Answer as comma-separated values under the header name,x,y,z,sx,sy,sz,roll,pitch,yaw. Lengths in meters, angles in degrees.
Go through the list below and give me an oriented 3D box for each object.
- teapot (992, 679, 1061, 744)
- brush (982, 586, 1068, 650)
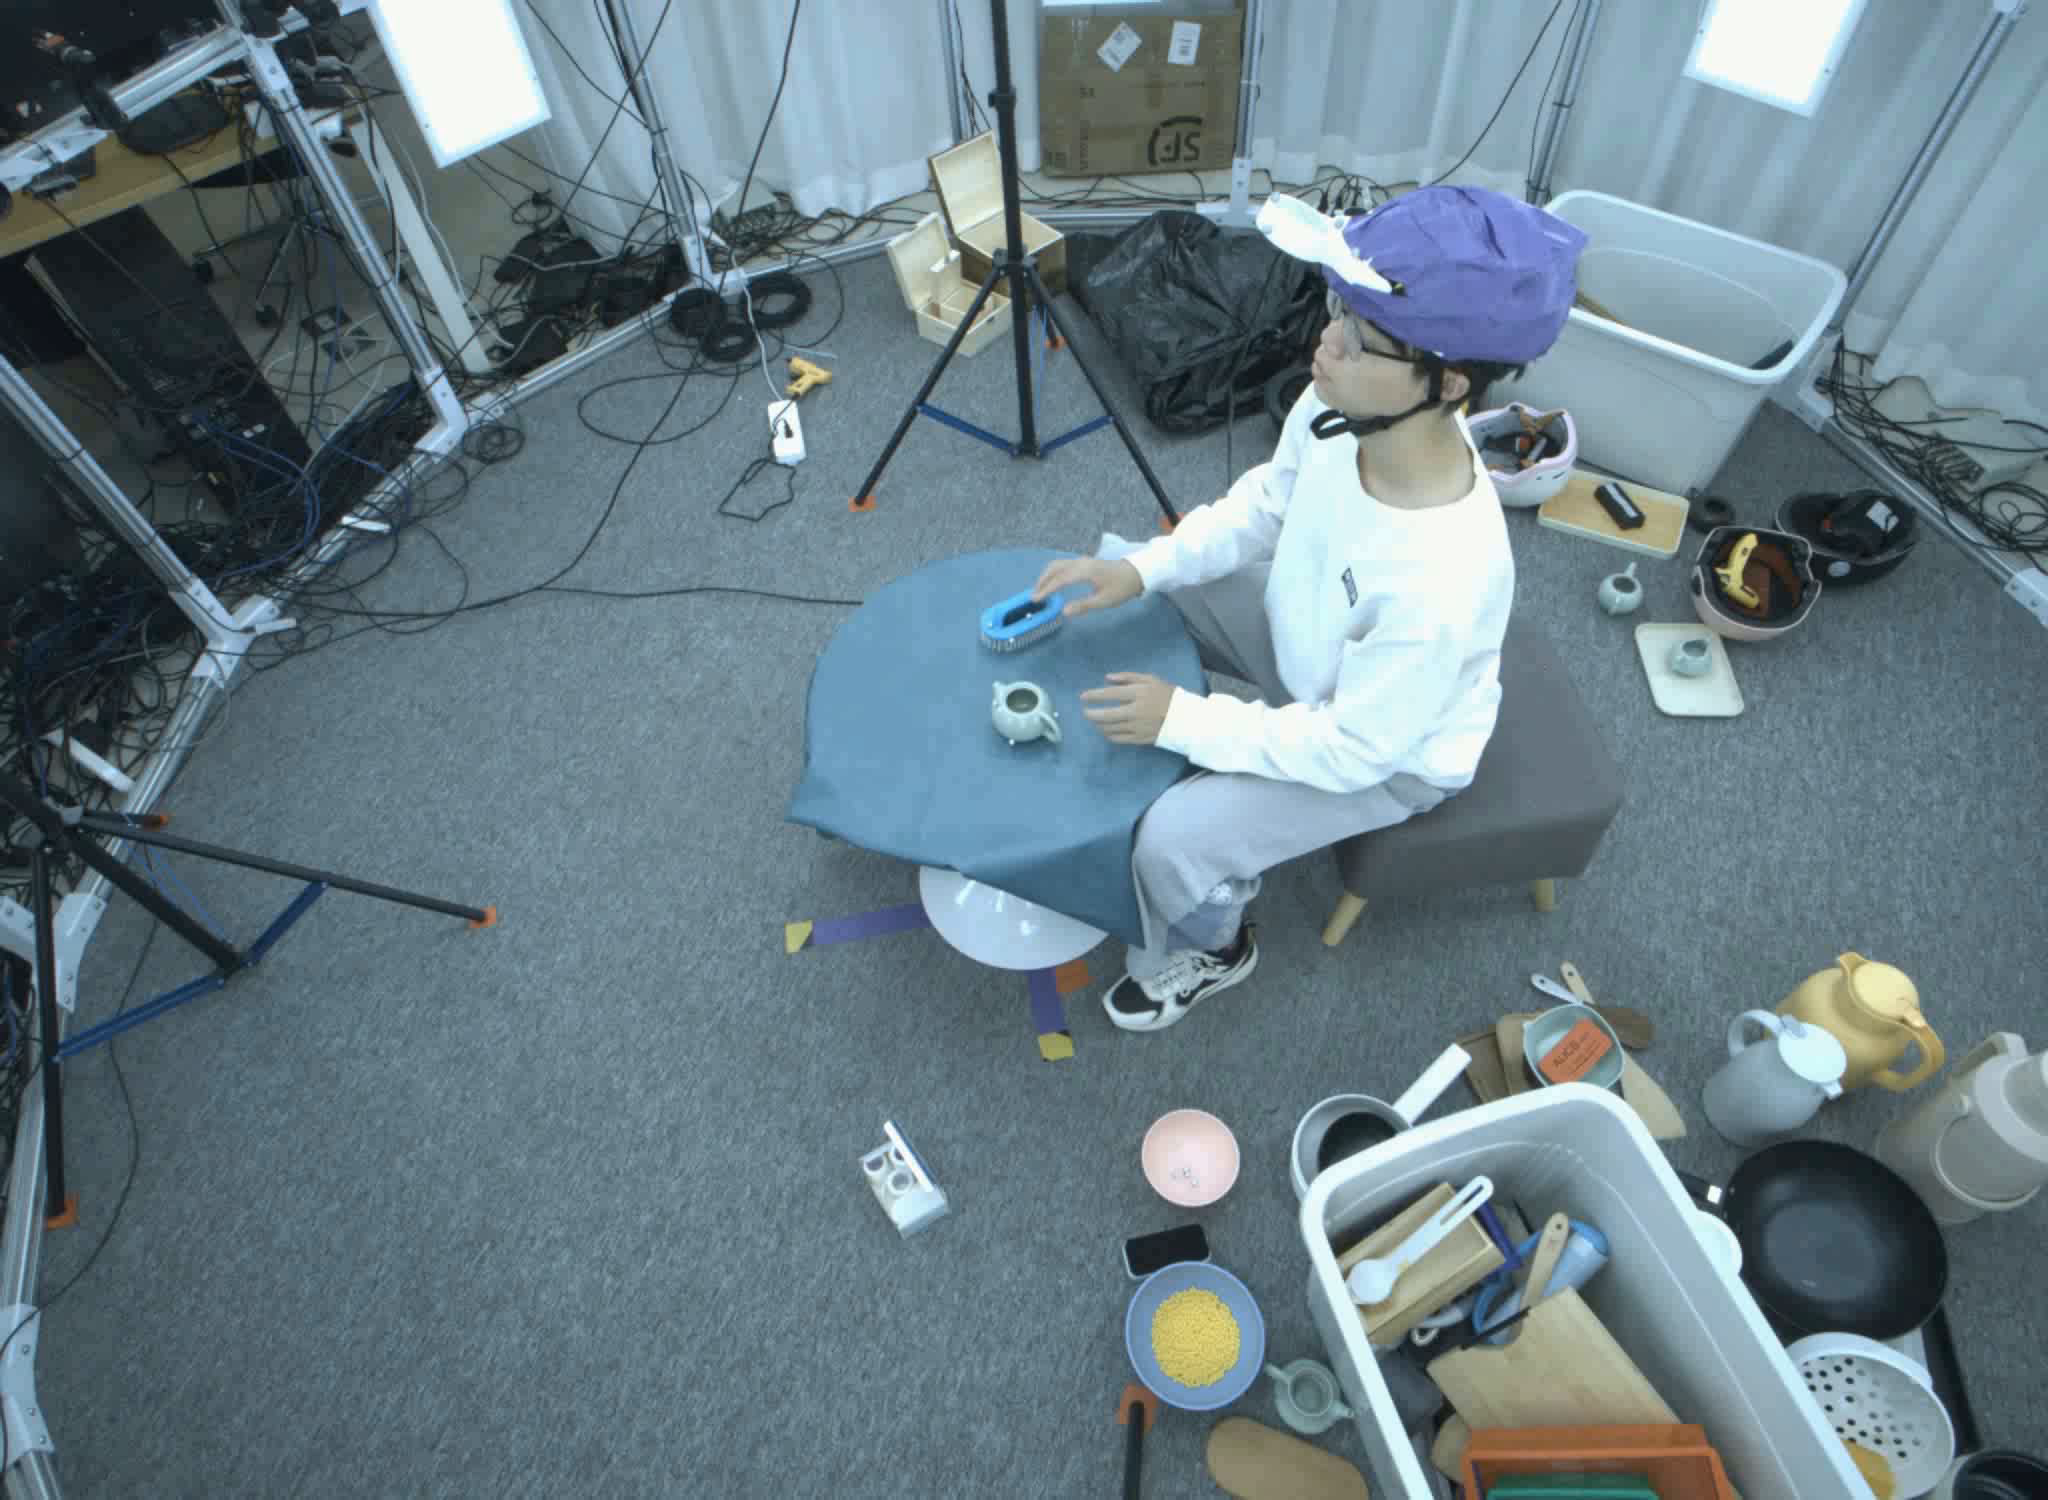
name,x,y,z,sx,sy,sz,roll,pitch,yaw
teapot,0.005,-0.051,1.785,0.126,0.061,0.092,38,62,24
brush,-0.002,-0.216,1.898,0.143,0.064,0.082,-25,52,-16
